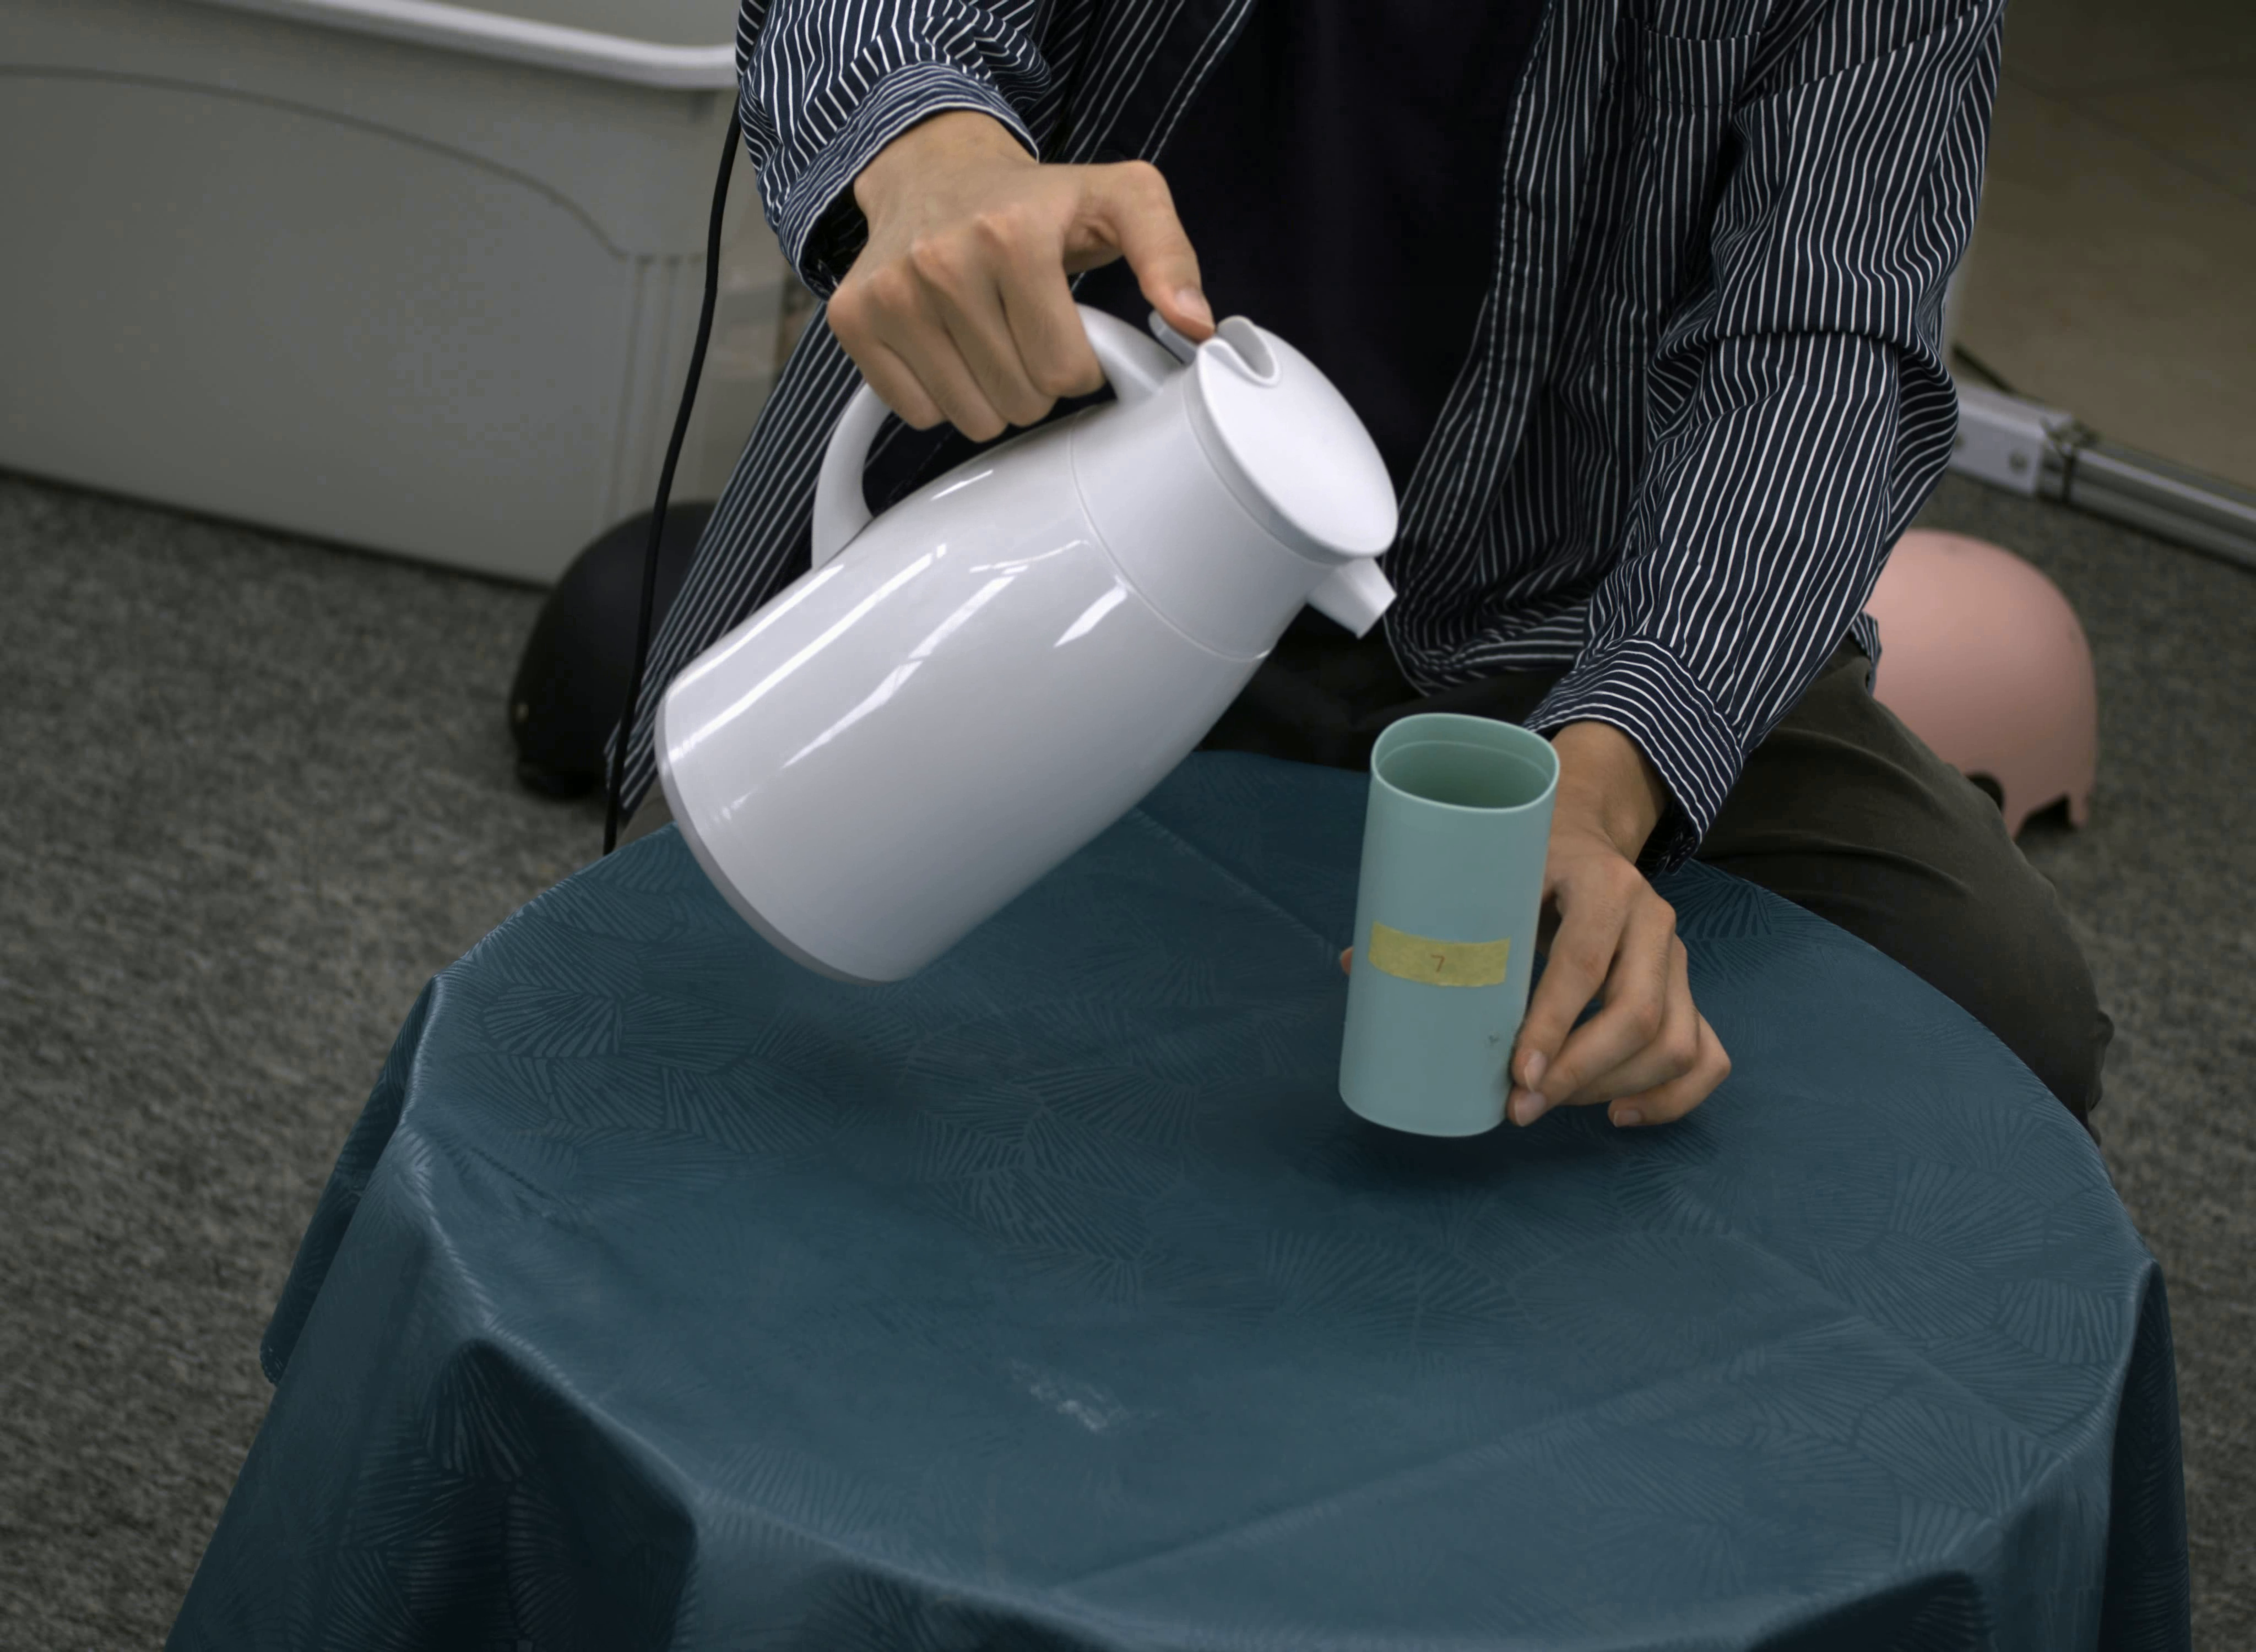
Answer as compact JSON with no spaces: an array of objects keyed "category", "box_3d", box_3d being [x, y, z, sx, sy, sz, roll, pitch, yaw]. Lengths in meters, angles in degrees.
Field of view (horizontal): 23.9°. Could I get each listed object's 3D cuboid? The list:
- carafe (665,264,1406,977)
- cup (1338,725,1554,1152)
[{"category":"carafe","box_3d":[-0.037,-0.083,1.759,0.167,0.248,0.133,48,29,-7]},{"category":"cup","box_3d":[0.107,0.037,1.797,0.066,0.132,0.067,3,29,-2]}]
